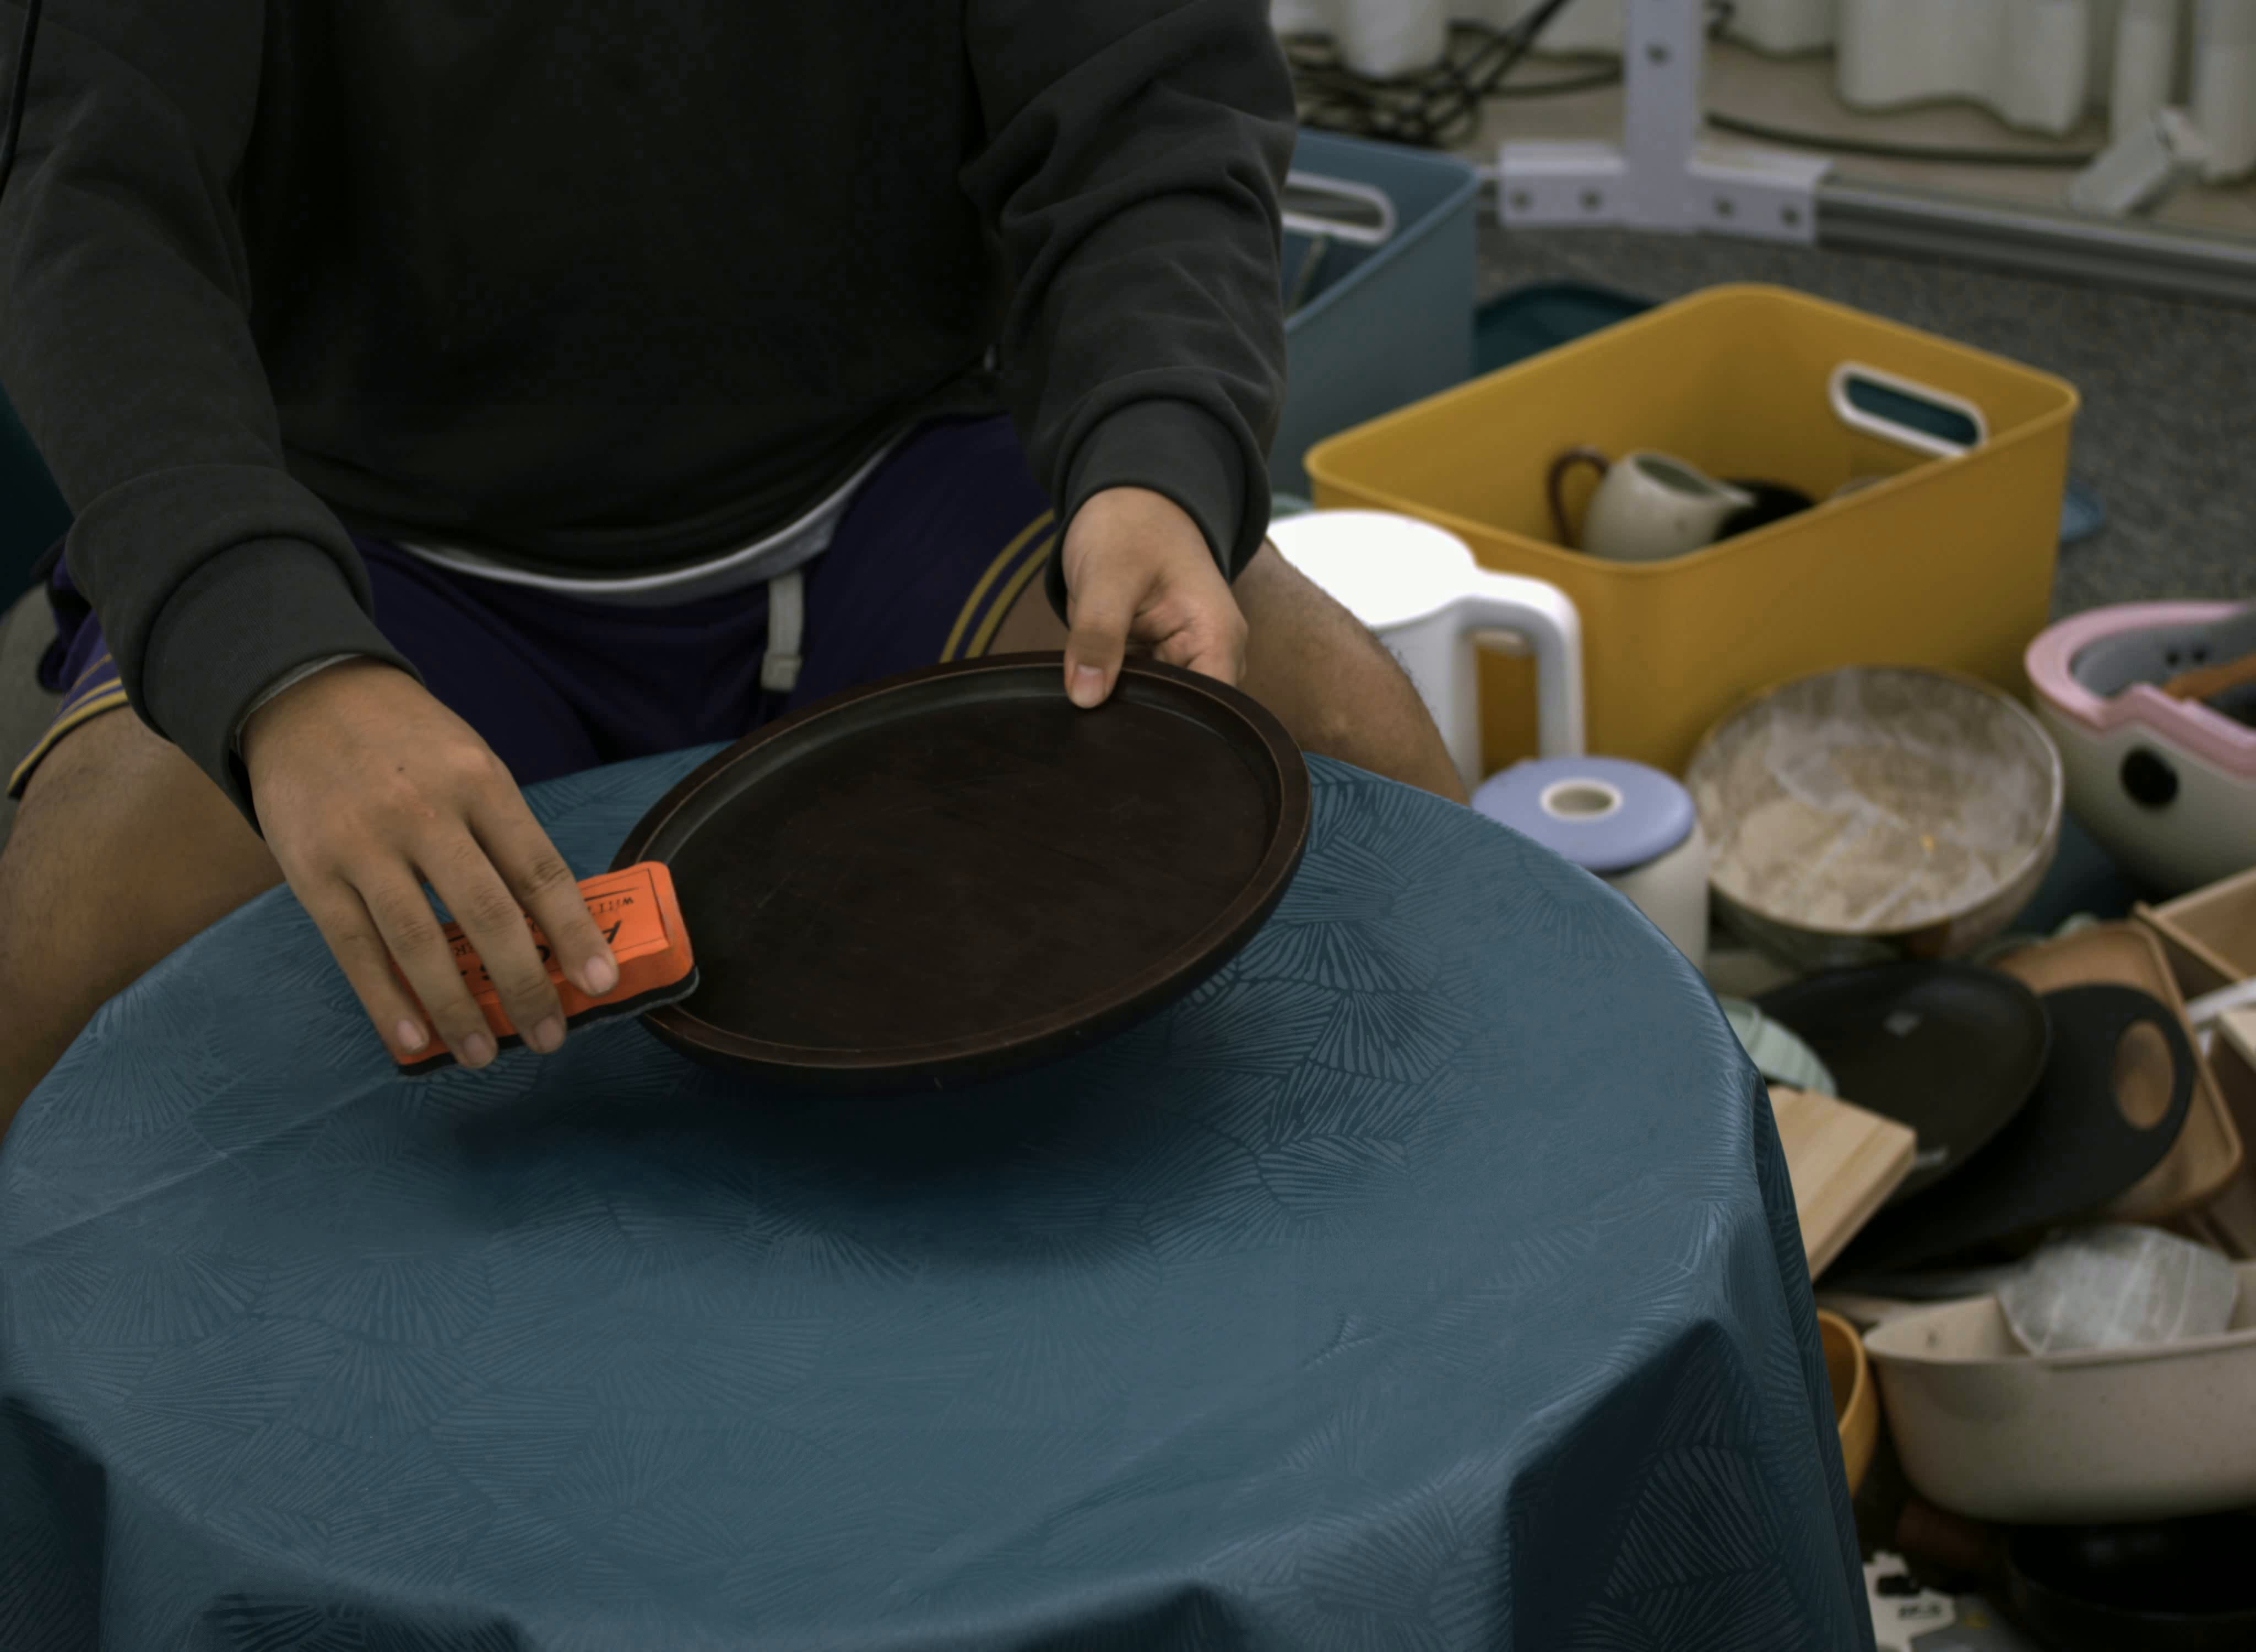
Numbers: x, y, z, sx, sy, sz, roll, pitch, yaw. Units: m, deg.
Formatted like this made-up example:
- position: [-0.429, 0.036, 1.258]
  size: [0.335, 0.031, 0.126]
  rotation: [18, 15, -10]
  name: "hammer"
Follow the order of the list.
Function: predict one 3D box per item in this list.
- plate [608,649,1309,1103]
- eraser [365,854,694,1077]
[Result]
- position: [-0.060, 0.015, 1.937]
  size: [0.253, 0.029, 0.259]
  rotation: [-11, 32, 7]
  name: "plate"
- position: [-0.202, 0.047, 1.892]
  size: [0.108, 0.022, 0.060]
  rotation: [-18, 31, -2]
  name: "eraser"
